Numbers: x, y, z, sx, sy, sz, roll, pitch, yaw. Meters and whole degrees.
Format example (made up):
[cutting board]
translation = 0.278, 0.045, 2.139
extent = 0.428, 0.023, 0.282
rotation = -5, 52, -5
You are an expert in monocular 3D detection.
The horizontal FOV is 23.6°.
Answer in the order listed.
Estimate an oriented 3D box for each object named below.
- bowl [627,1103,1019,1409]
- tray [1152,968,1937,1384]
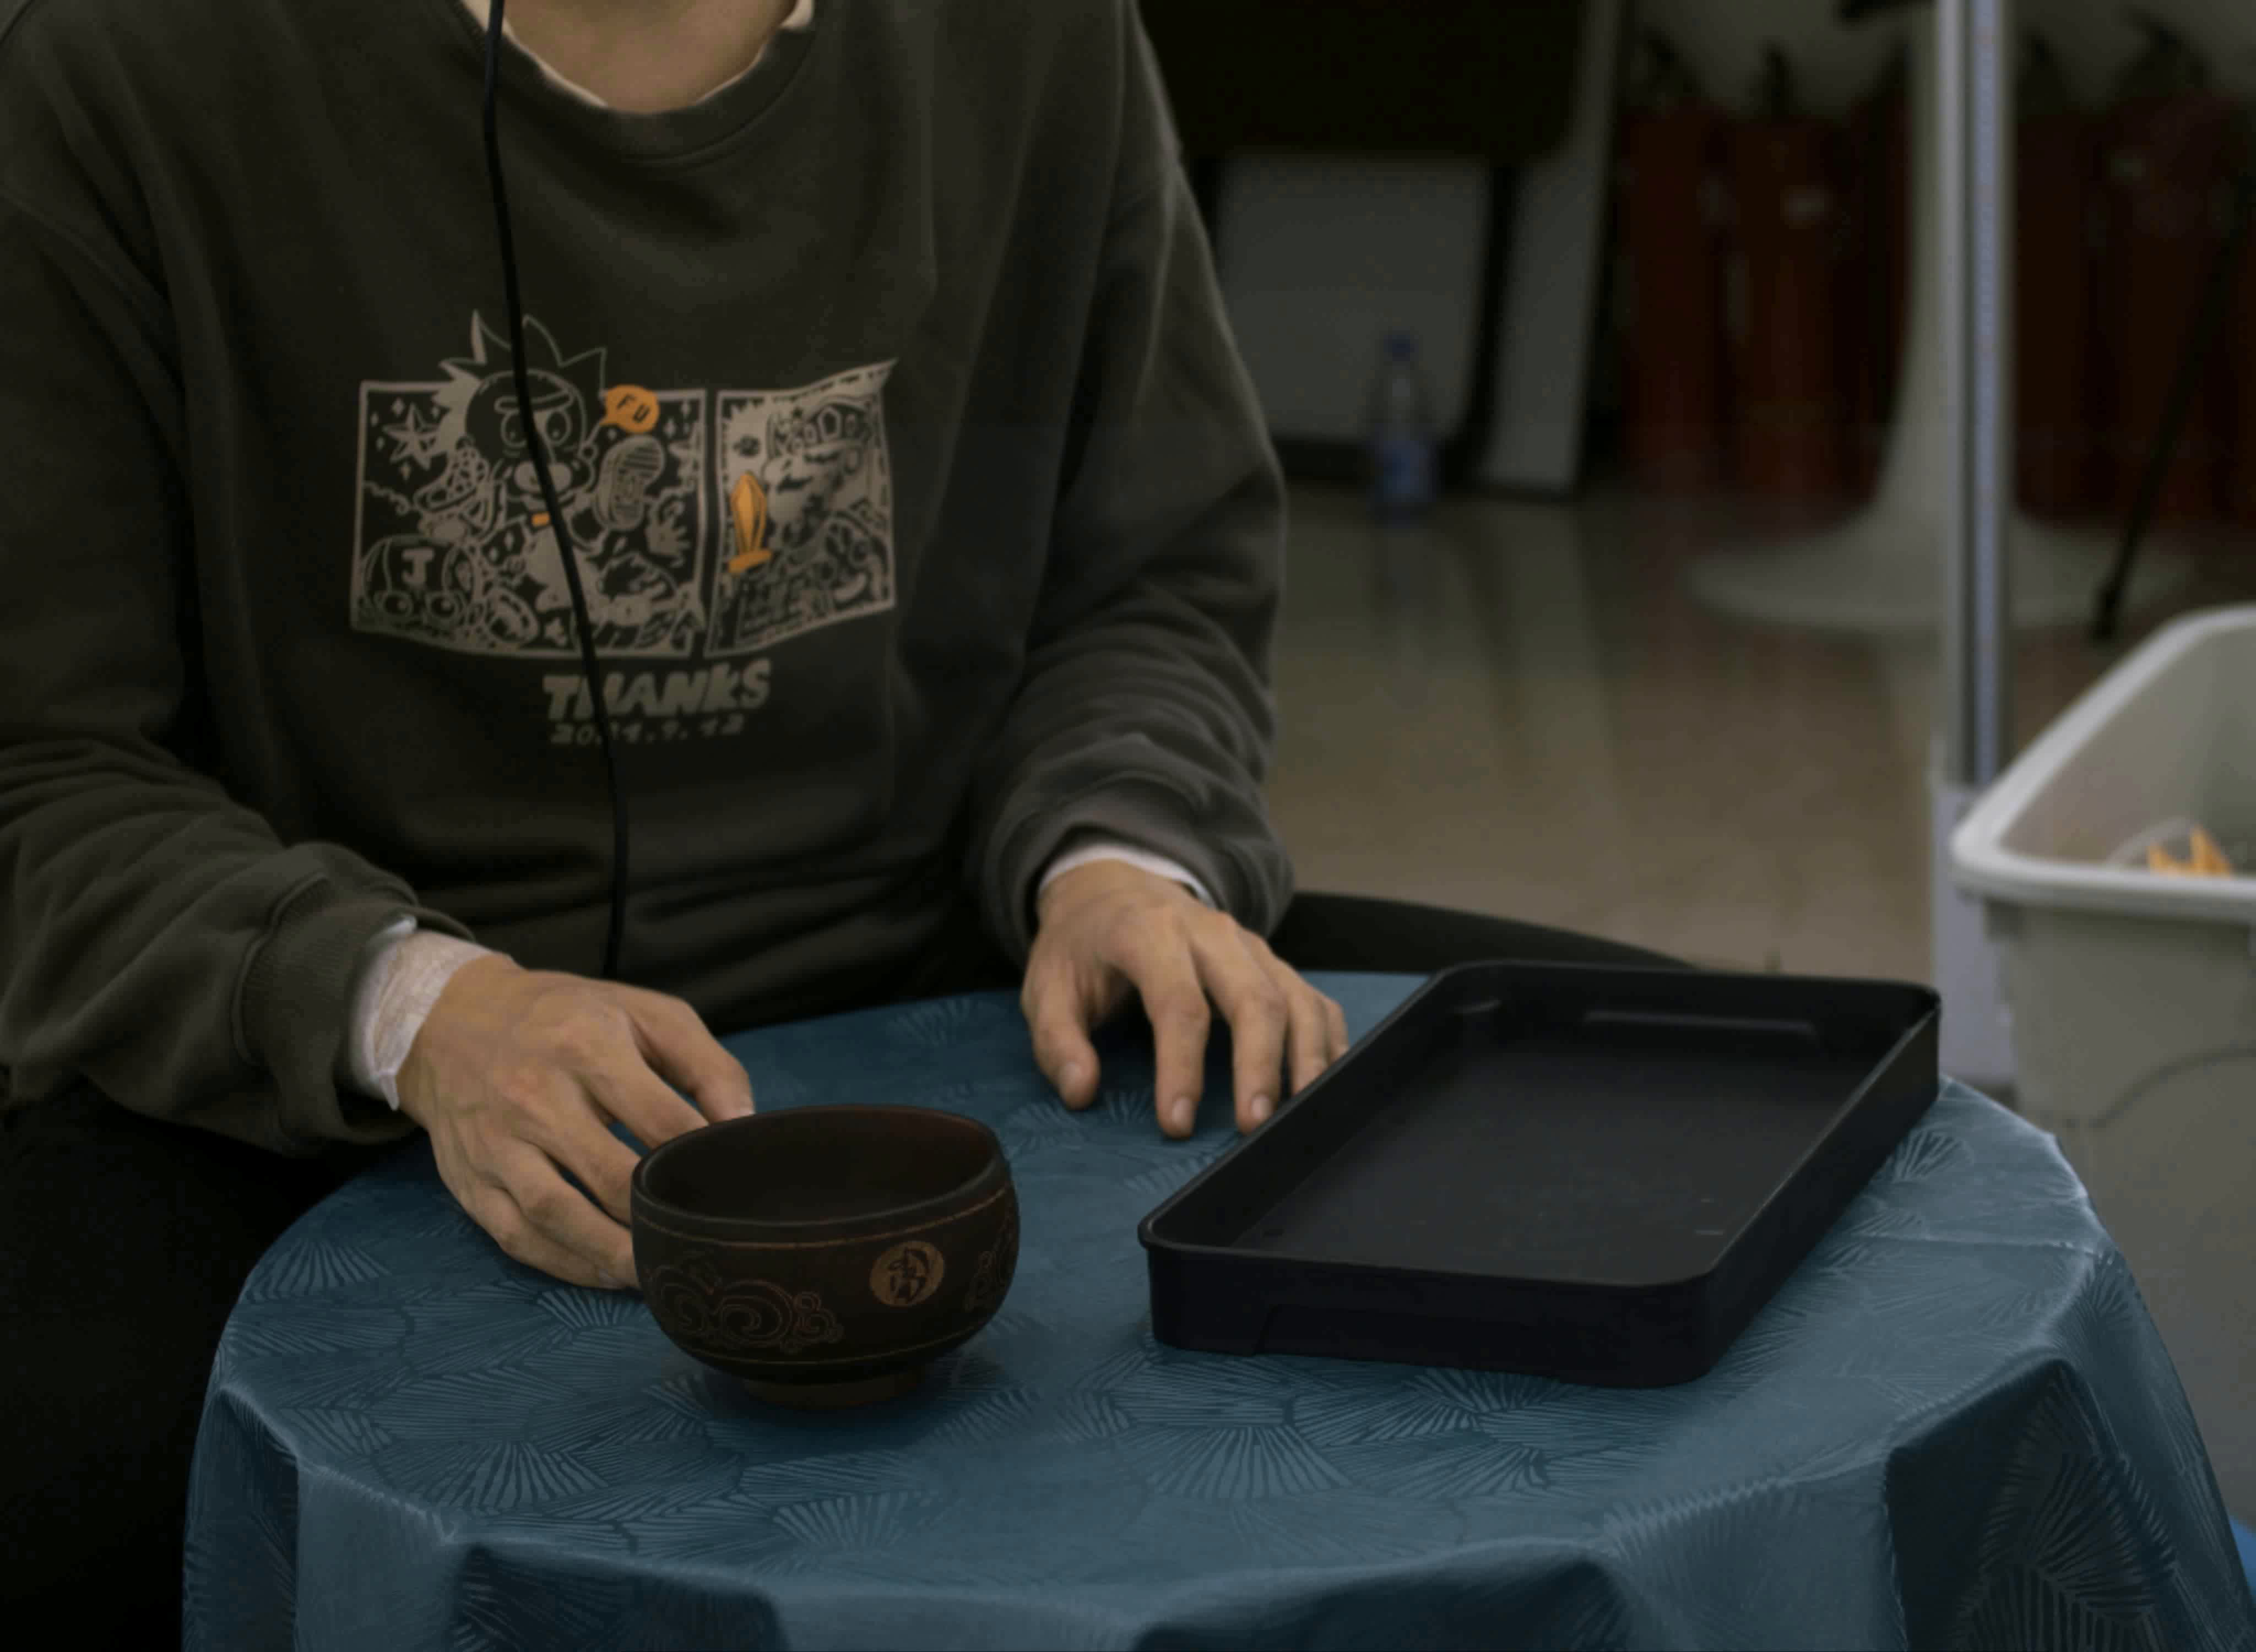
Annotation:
[bowl]
translation = -0.089, 0.132, 1.608
extent = 0.116, 0.070, 0.118
rotation = -5, 12, 0
[tray]
translation = 0.142, 0.106, 1.724
extent = 0.184, 0.037, 0.314
rotation = 1, 15, 22
